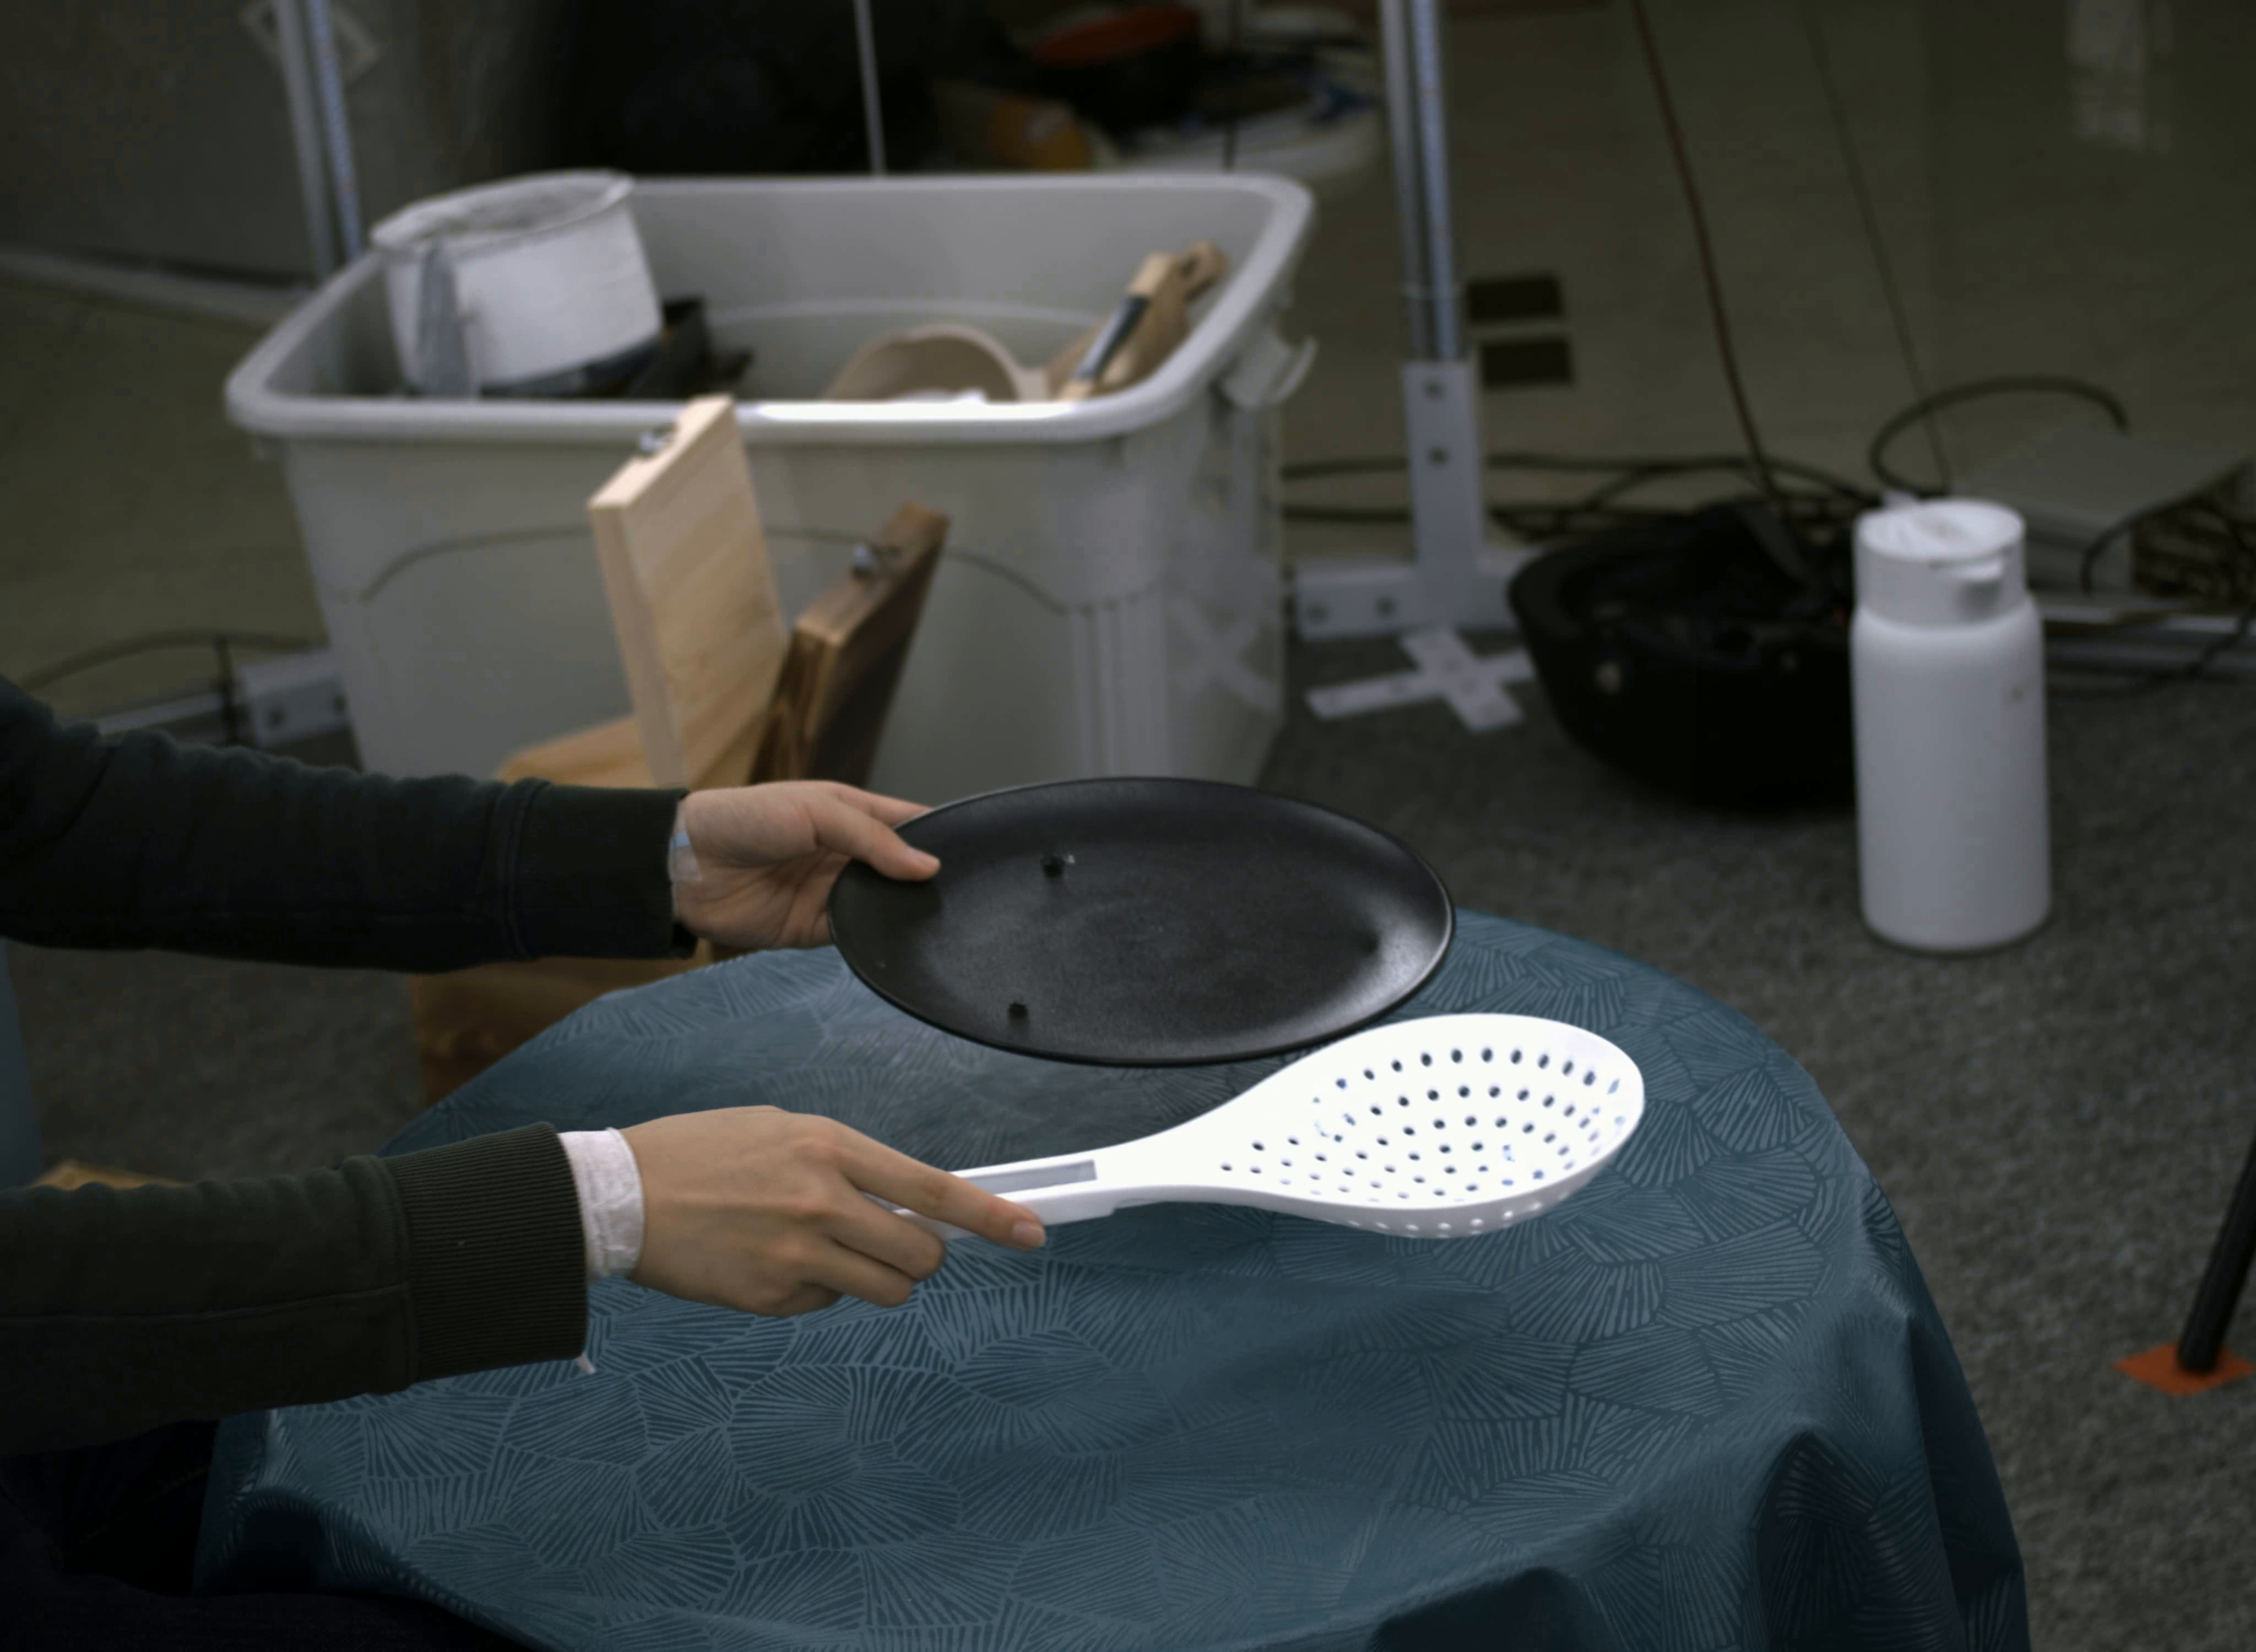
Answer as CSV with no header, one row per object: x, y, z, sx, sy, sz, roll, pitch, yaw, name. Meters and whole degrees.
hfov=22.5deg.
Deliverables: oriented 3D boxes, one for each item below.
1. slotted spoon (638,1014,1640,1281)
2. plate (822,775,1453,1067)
0.004,0.120,1.965,0.349,0.046,0.134,-5,25,-3,slotted spoon
0.003,0.041,2.185,0.244,0.024,0.241,1,26,0,plate
